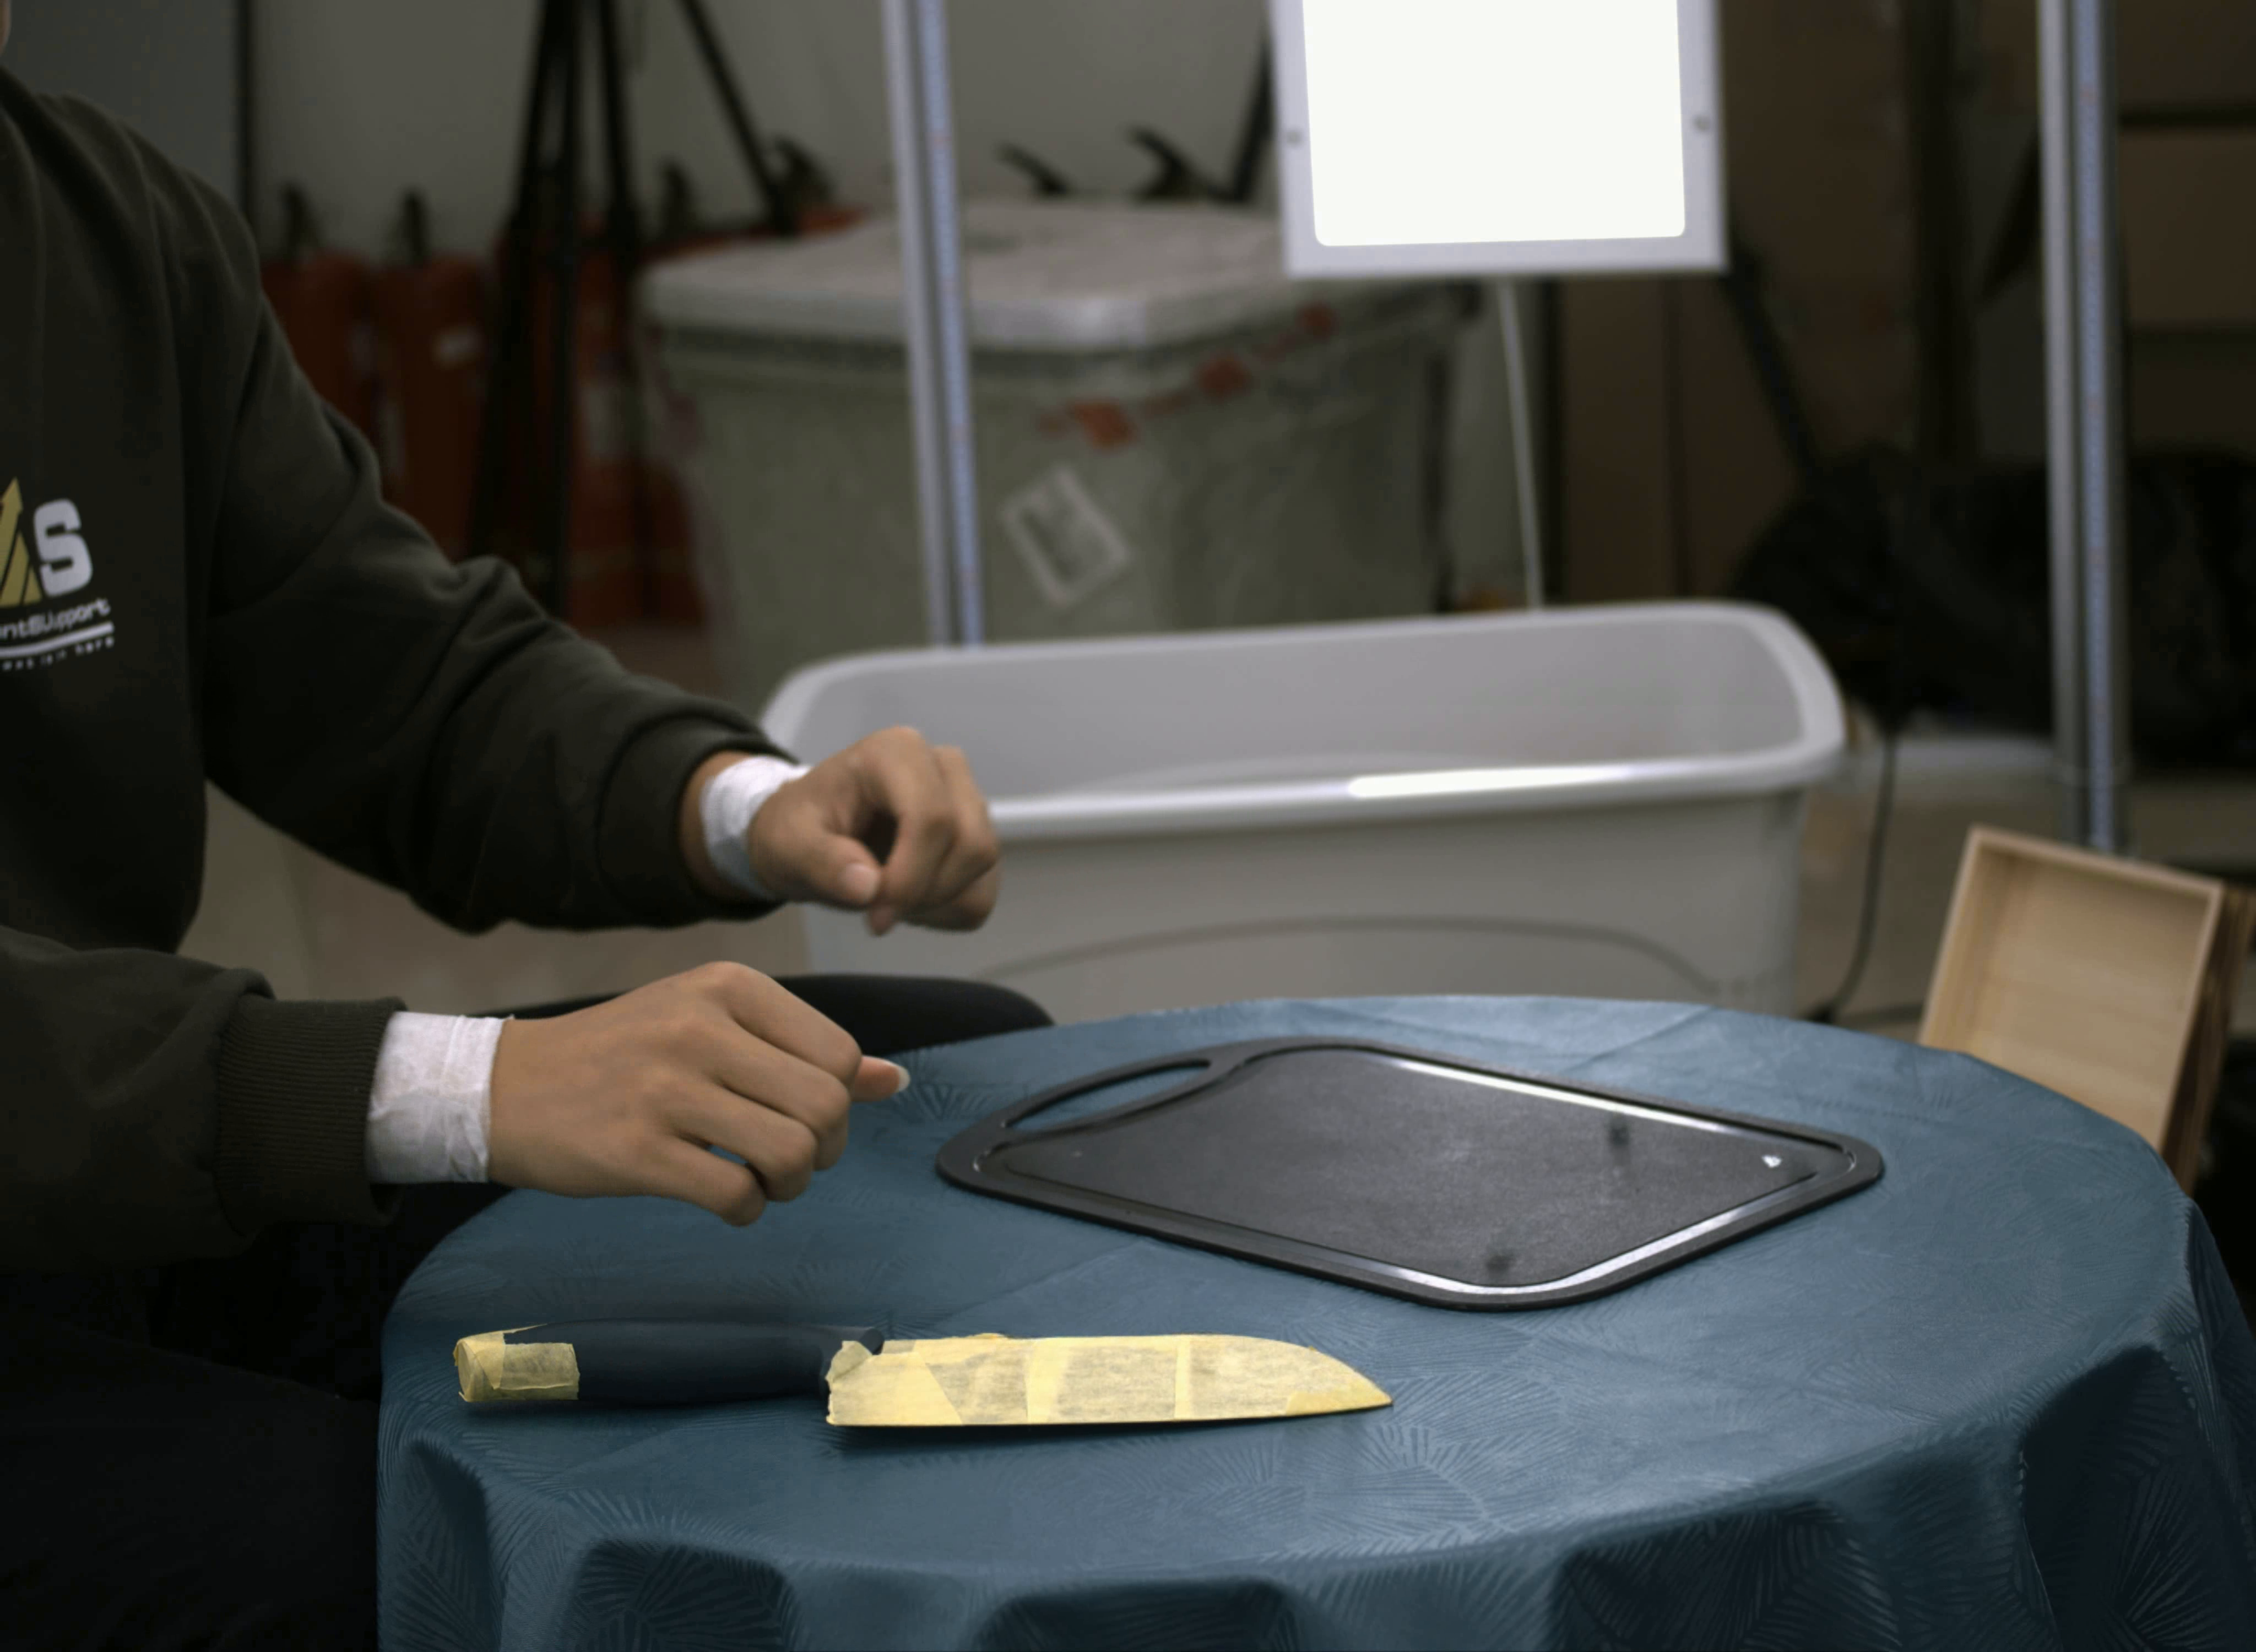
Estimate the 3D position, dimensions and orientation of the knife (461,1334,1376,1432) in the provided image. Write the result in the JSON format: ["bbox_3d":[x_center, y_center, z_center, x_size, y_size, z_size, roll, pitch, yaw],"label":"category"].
[{"bbox_3d":[-0.066,0.173,1.705,0.290,0.027,0.080,-3,12,7],"label":"knife"}]

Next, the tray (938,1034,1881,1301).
[{"bbox_3d":[0.088,0.113,1.910,0.206,0.010,0.332,-17,18,-40],"label":"tray"}]
